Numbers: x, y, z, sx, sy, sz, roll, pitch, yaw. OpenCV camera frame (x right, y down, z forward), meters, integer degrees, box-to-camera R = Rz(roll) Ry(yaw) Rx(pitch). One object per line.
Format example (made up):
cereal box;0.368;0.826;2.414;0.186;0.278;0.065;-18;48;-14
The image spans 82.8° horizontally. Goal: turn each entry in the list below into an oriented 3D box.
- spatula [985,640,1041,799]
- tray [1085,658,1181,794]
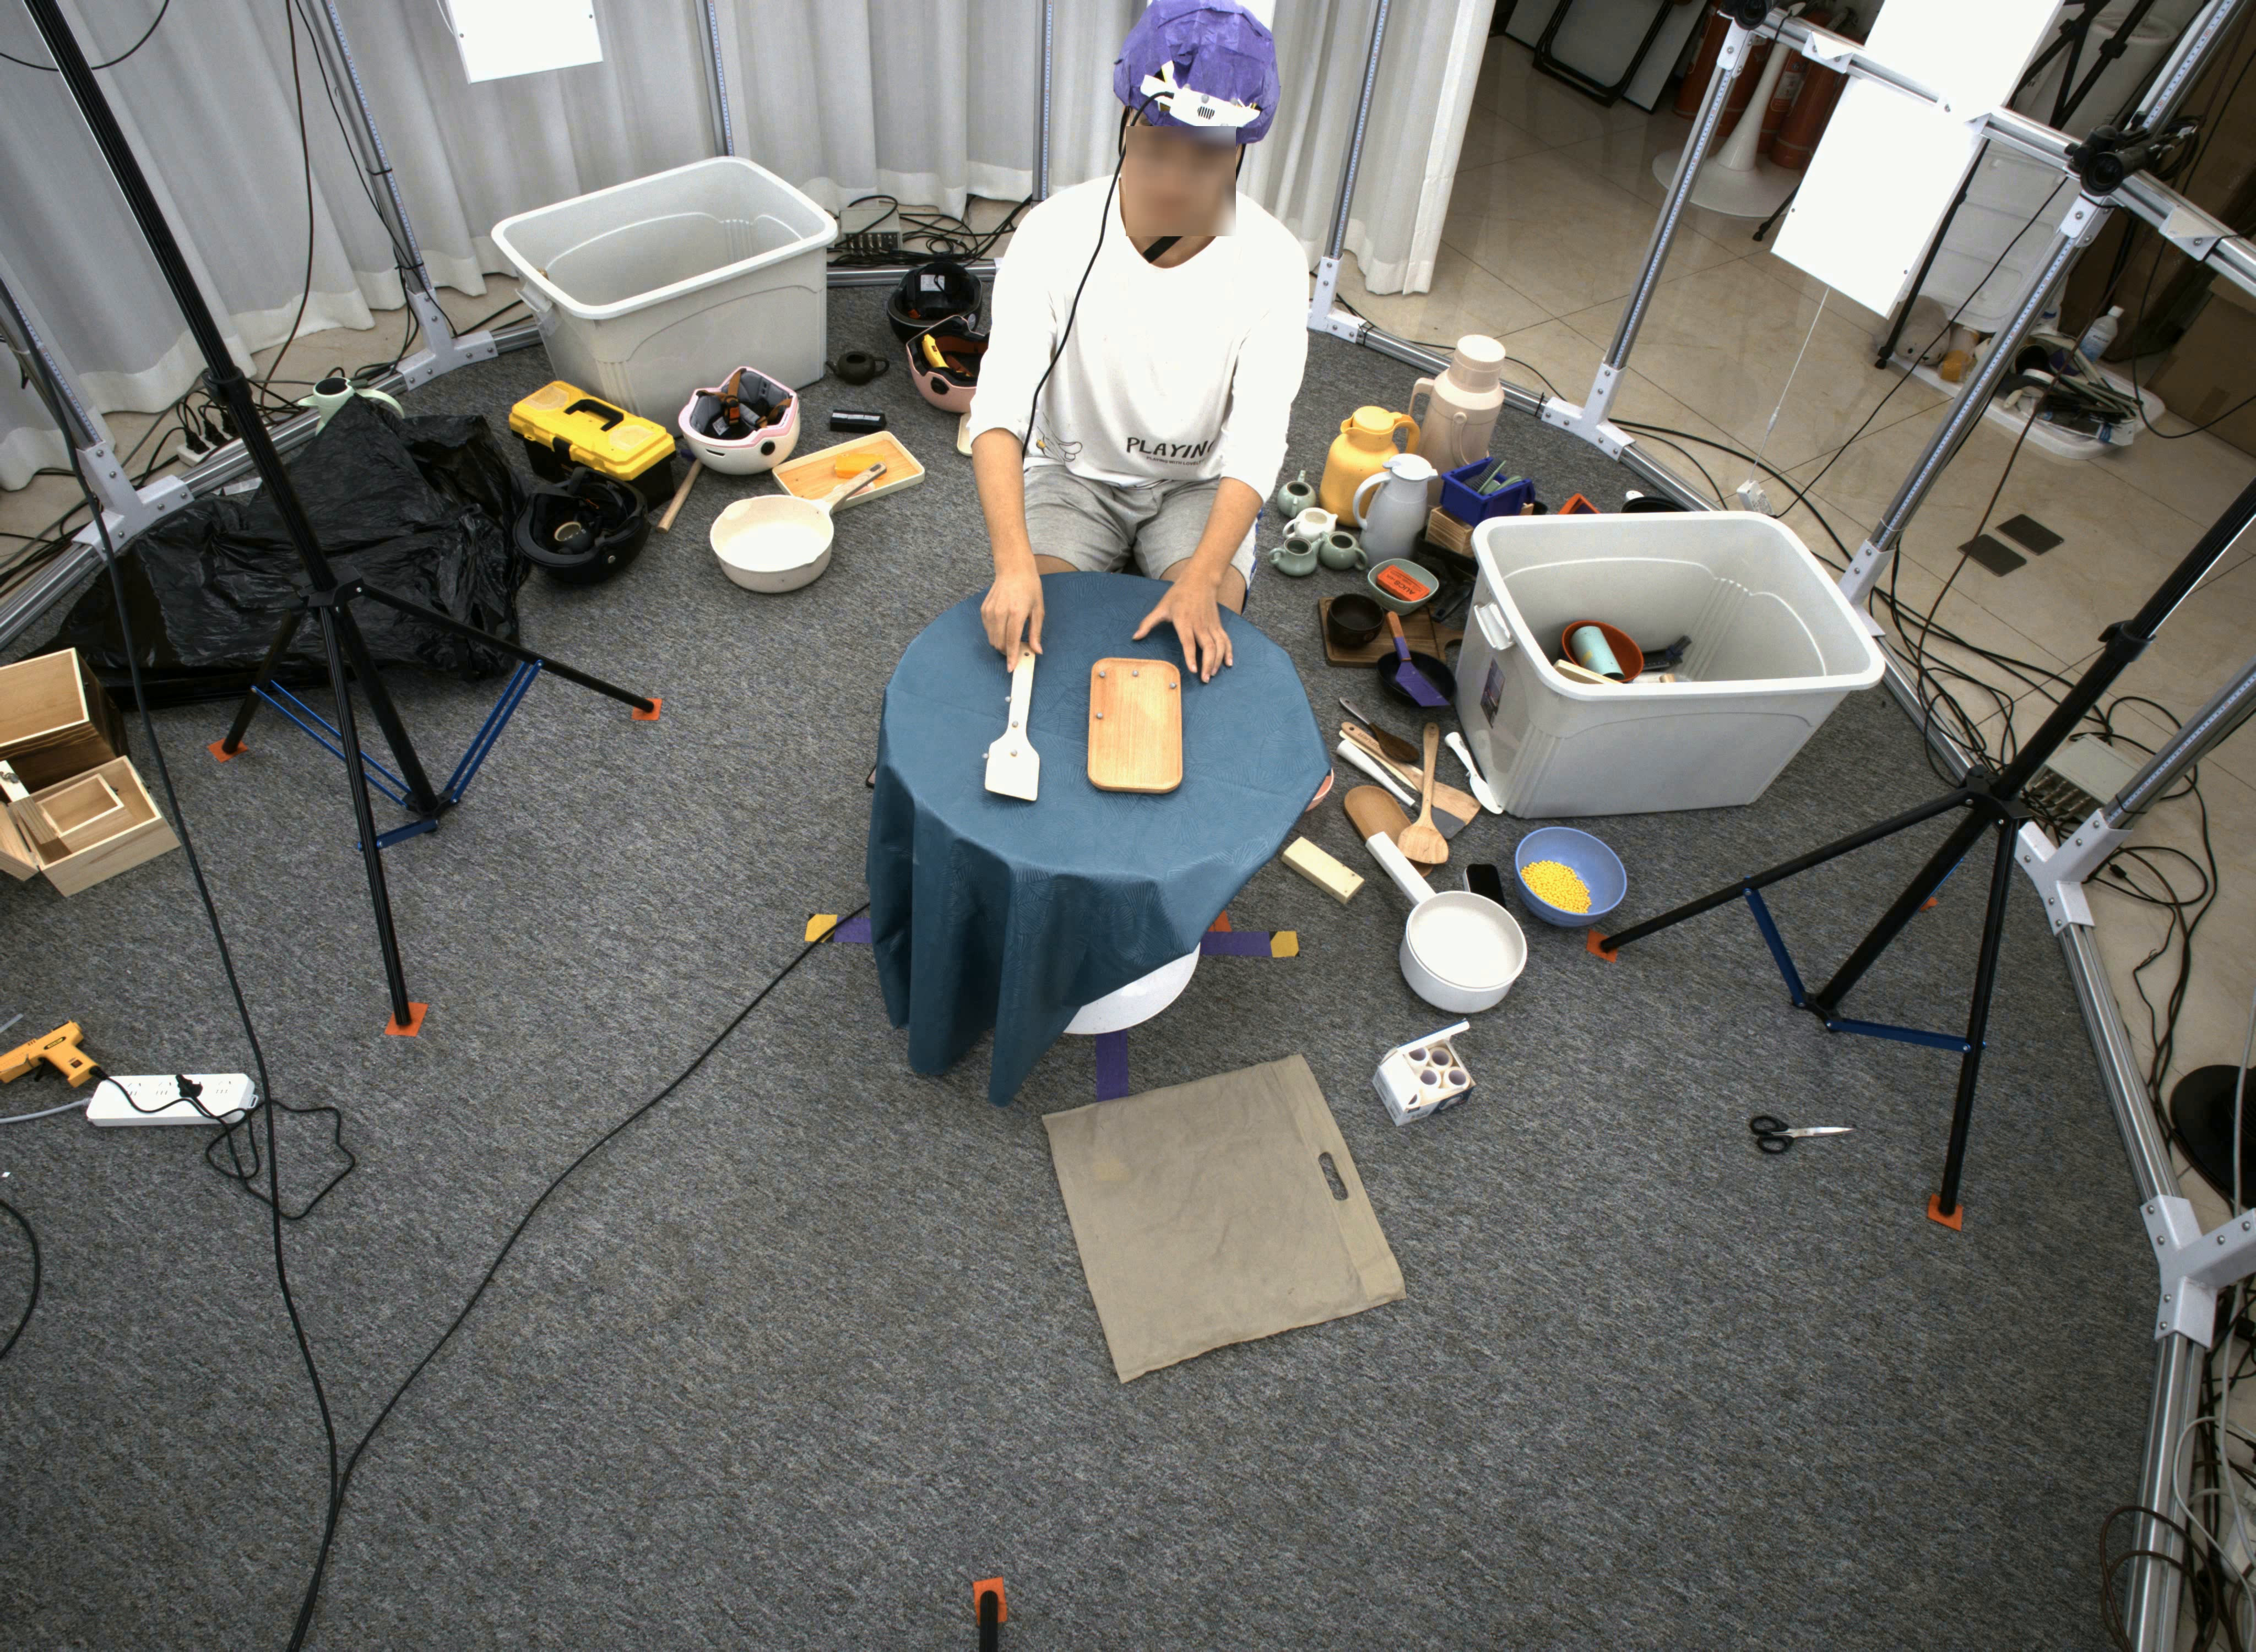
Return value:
spatula;-0.149;-0.155;1.770;0.072;0.010;0.300;12;49;-11
tray;0.009;-0.142;1.777;0.130;0.022;0.257;2;49;1
